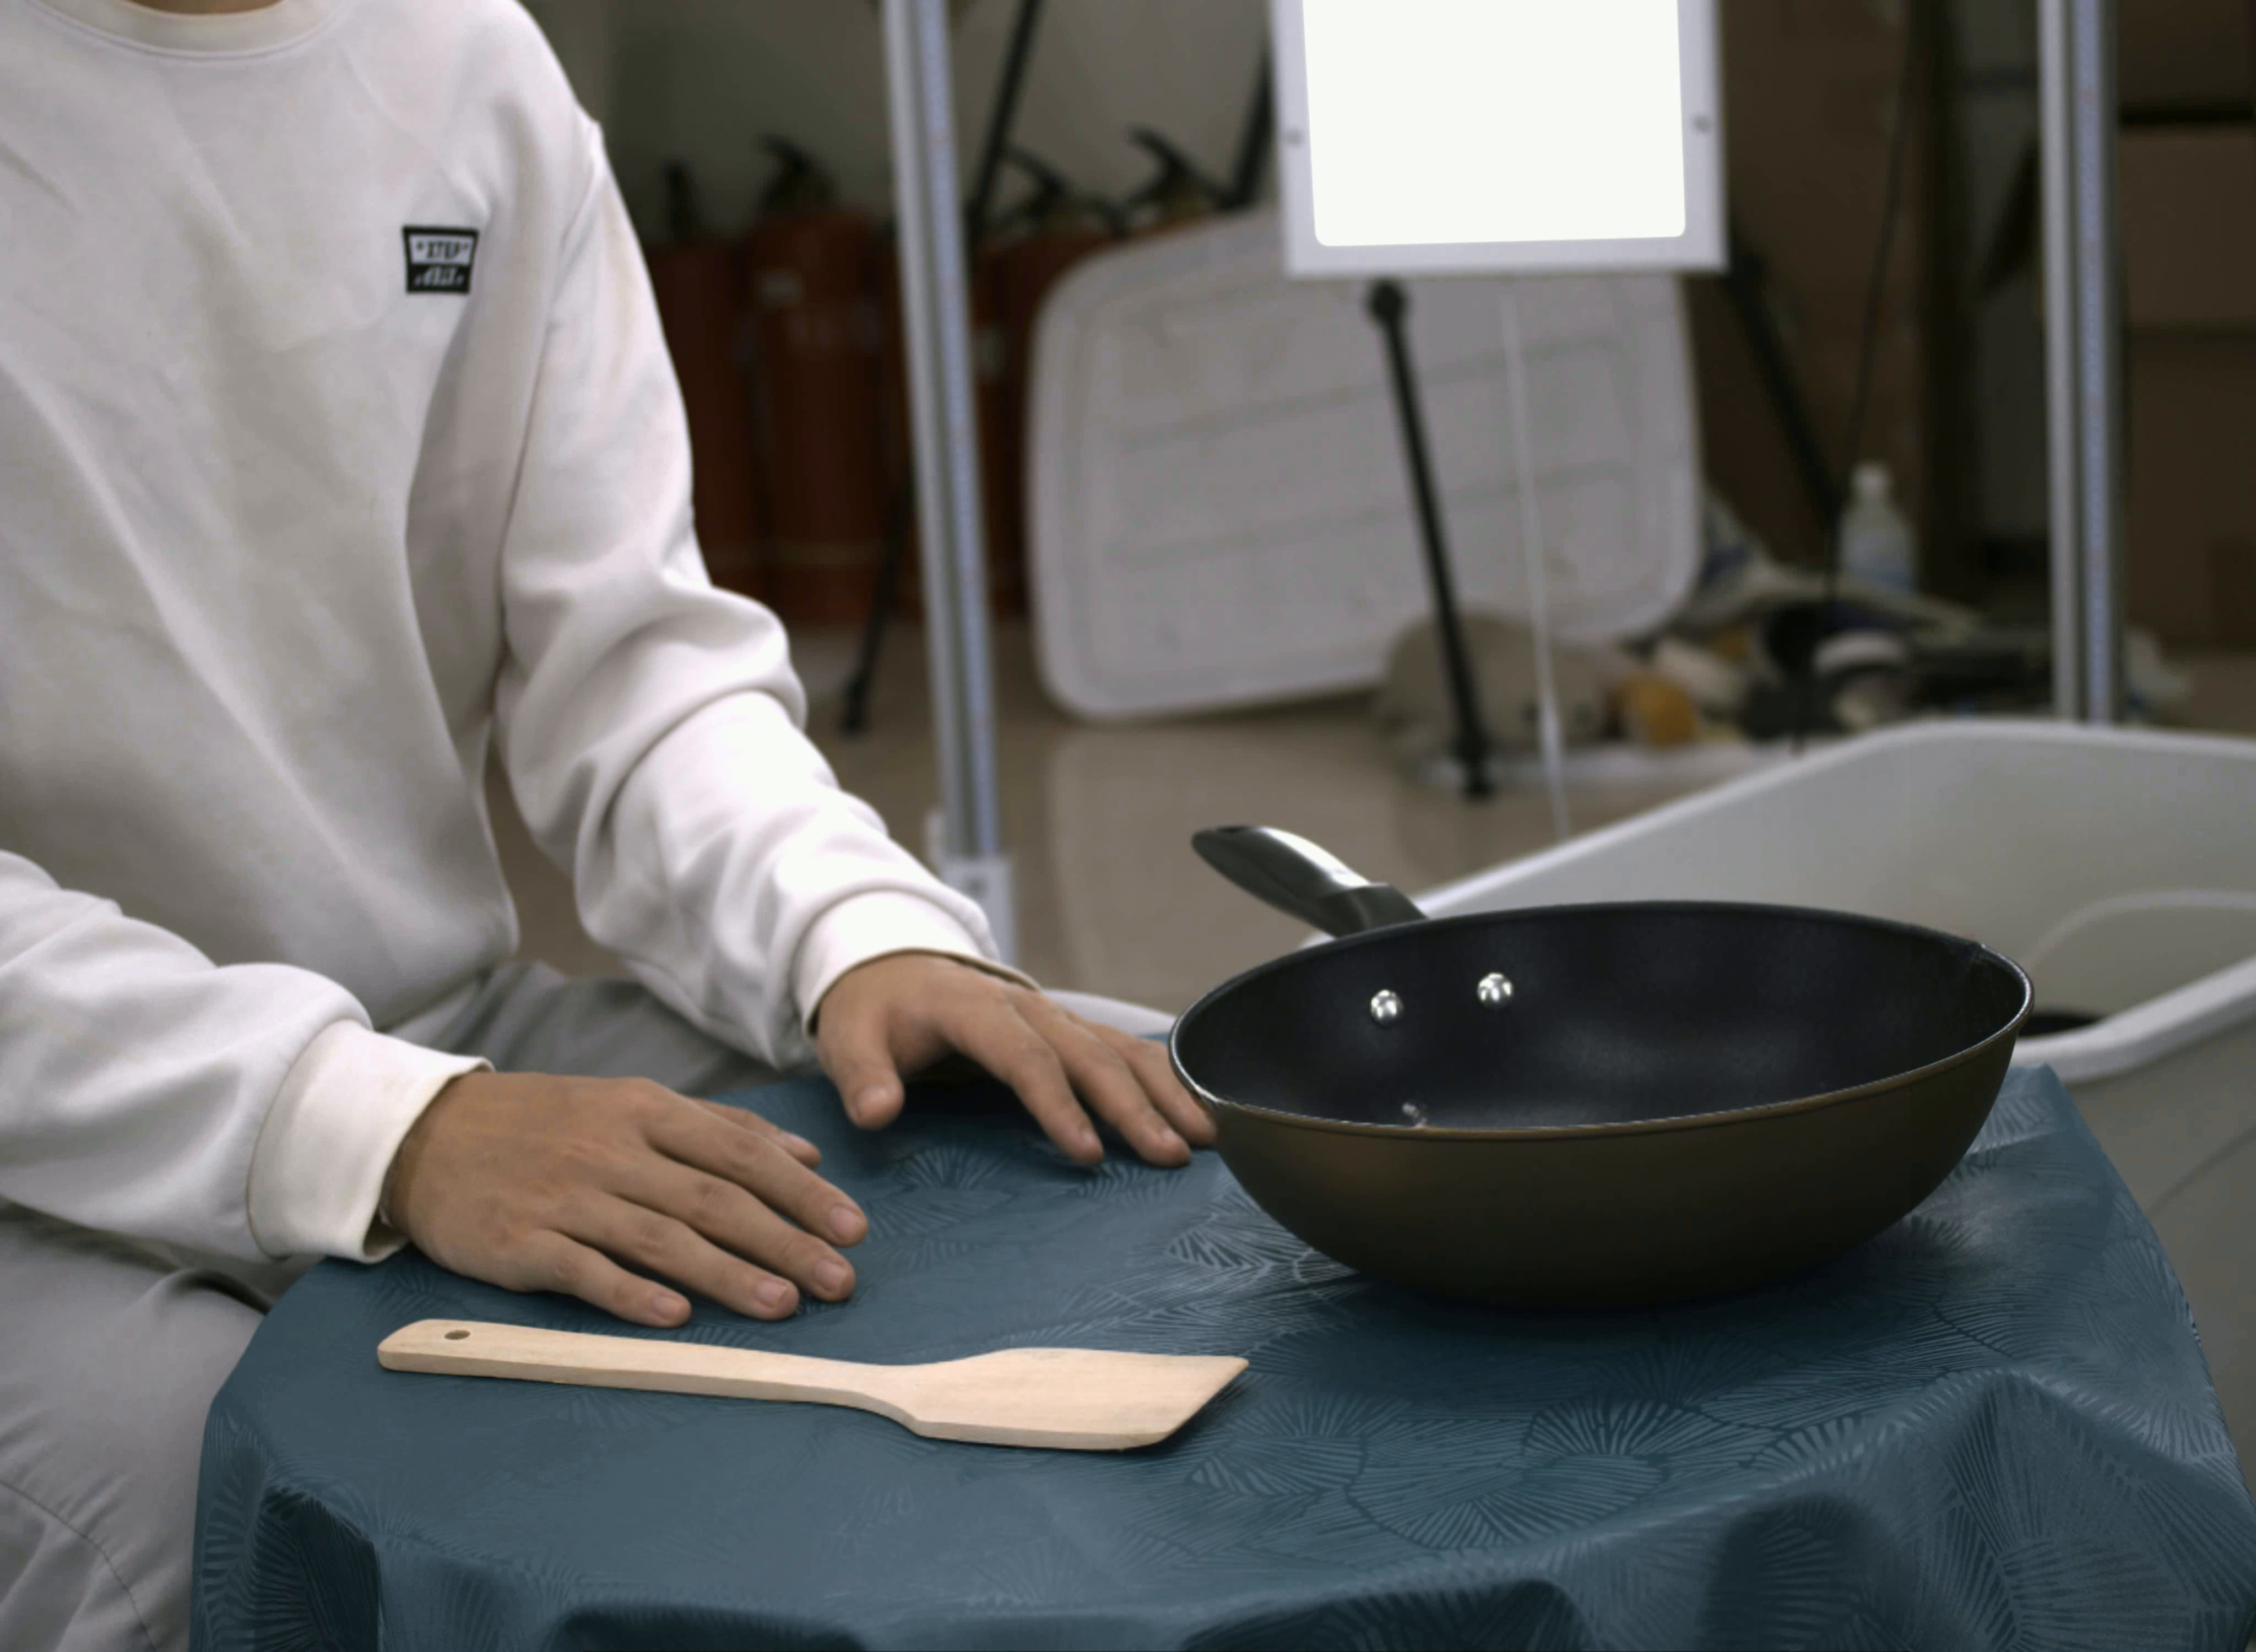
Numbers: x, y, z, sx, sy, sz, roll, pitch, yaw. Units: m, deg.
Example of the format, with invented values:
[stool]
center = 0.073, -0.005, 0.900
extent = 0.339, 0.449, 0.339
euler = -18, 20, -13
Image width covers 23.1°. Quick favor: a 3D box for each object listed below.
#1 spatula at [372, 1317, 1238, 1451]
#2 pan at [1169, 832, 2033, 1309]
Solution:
[spatula]
center = -0.110, 0.172, 1.732
extent = 0.298, 0.011, 0.071
euler = 2, 16, 26
[pan]
center = 0.124, 0.080, 1.873
extent = 0.283, 0.087, 0.469
euler = -9, 13, -19
